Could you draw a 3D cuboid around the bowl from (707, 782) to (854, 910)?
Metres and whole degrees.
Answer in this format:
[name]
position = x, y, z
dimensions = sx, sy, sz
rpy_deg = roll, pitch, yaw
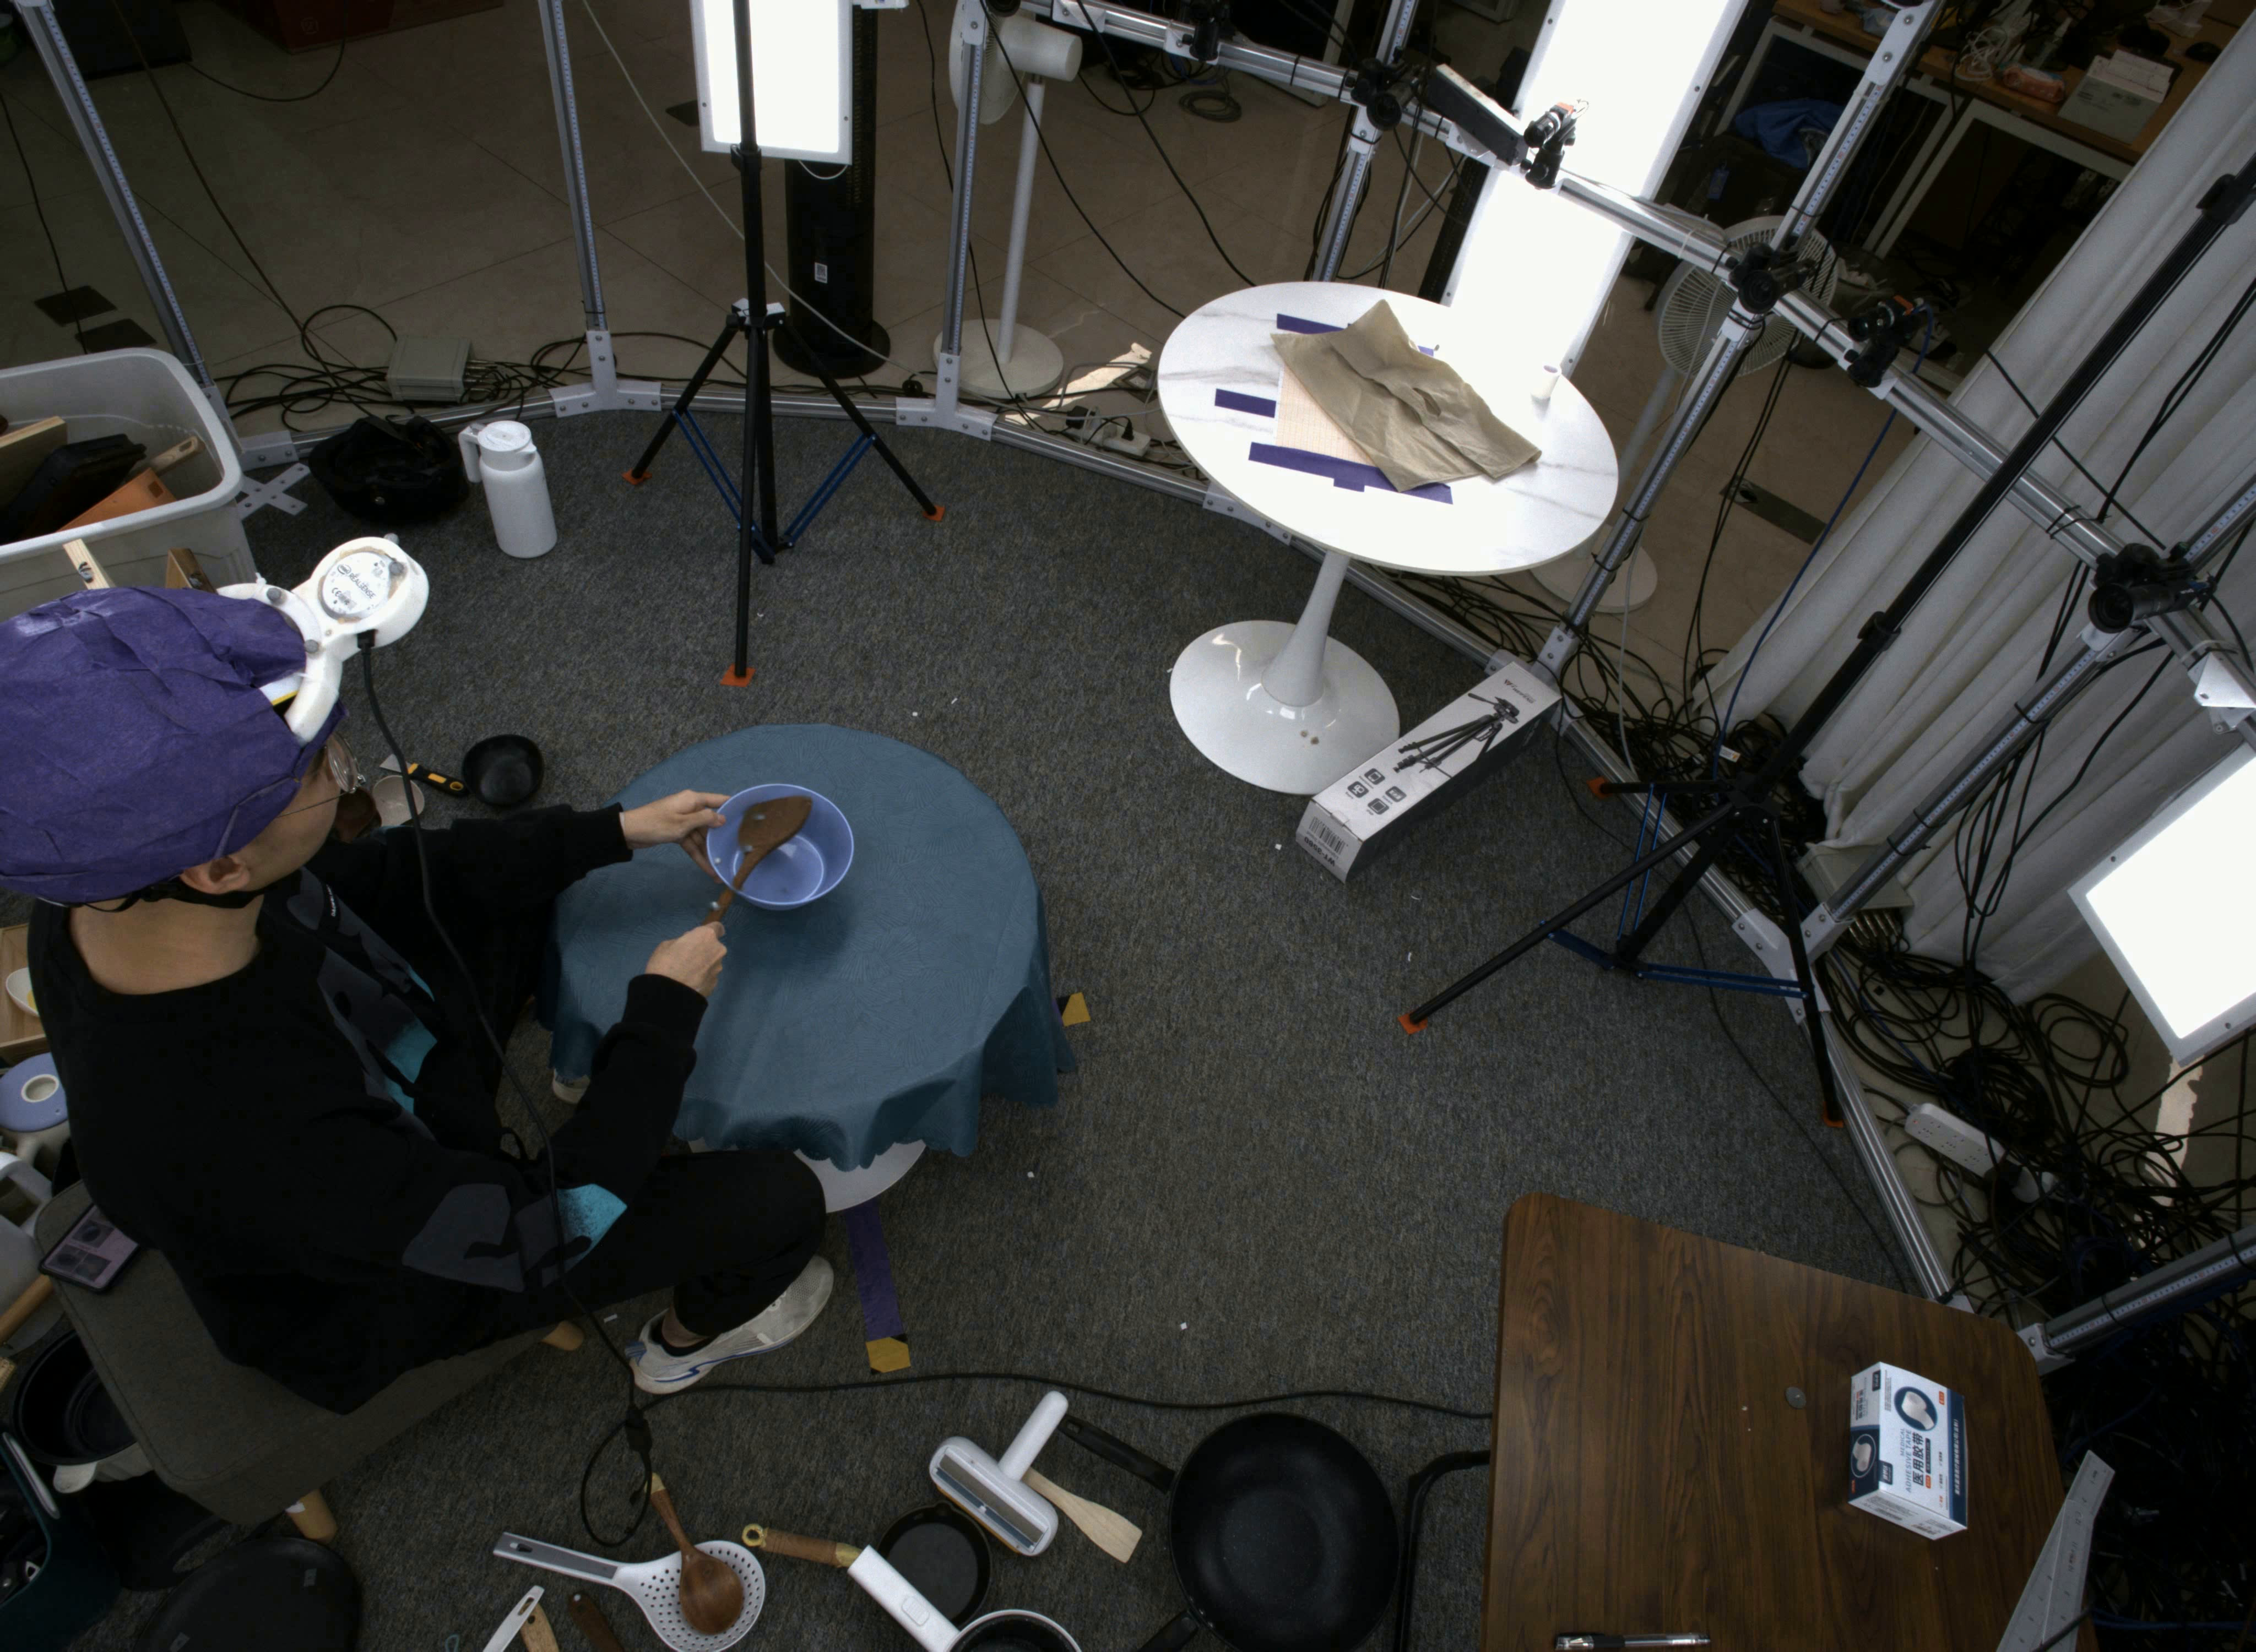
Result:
[bowl]
position = -0.432, 0.036, 1.611
dimensions = 0.176, 0.071, 0.173
rpy_deg = 9, 56, -12

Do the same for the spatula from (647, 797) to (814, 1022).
[spatula]
position = -0.461, 0.081, 1.479
dimensions = 0.094, 0.016, 0.380
rpy_deg = -6, 35, 17
